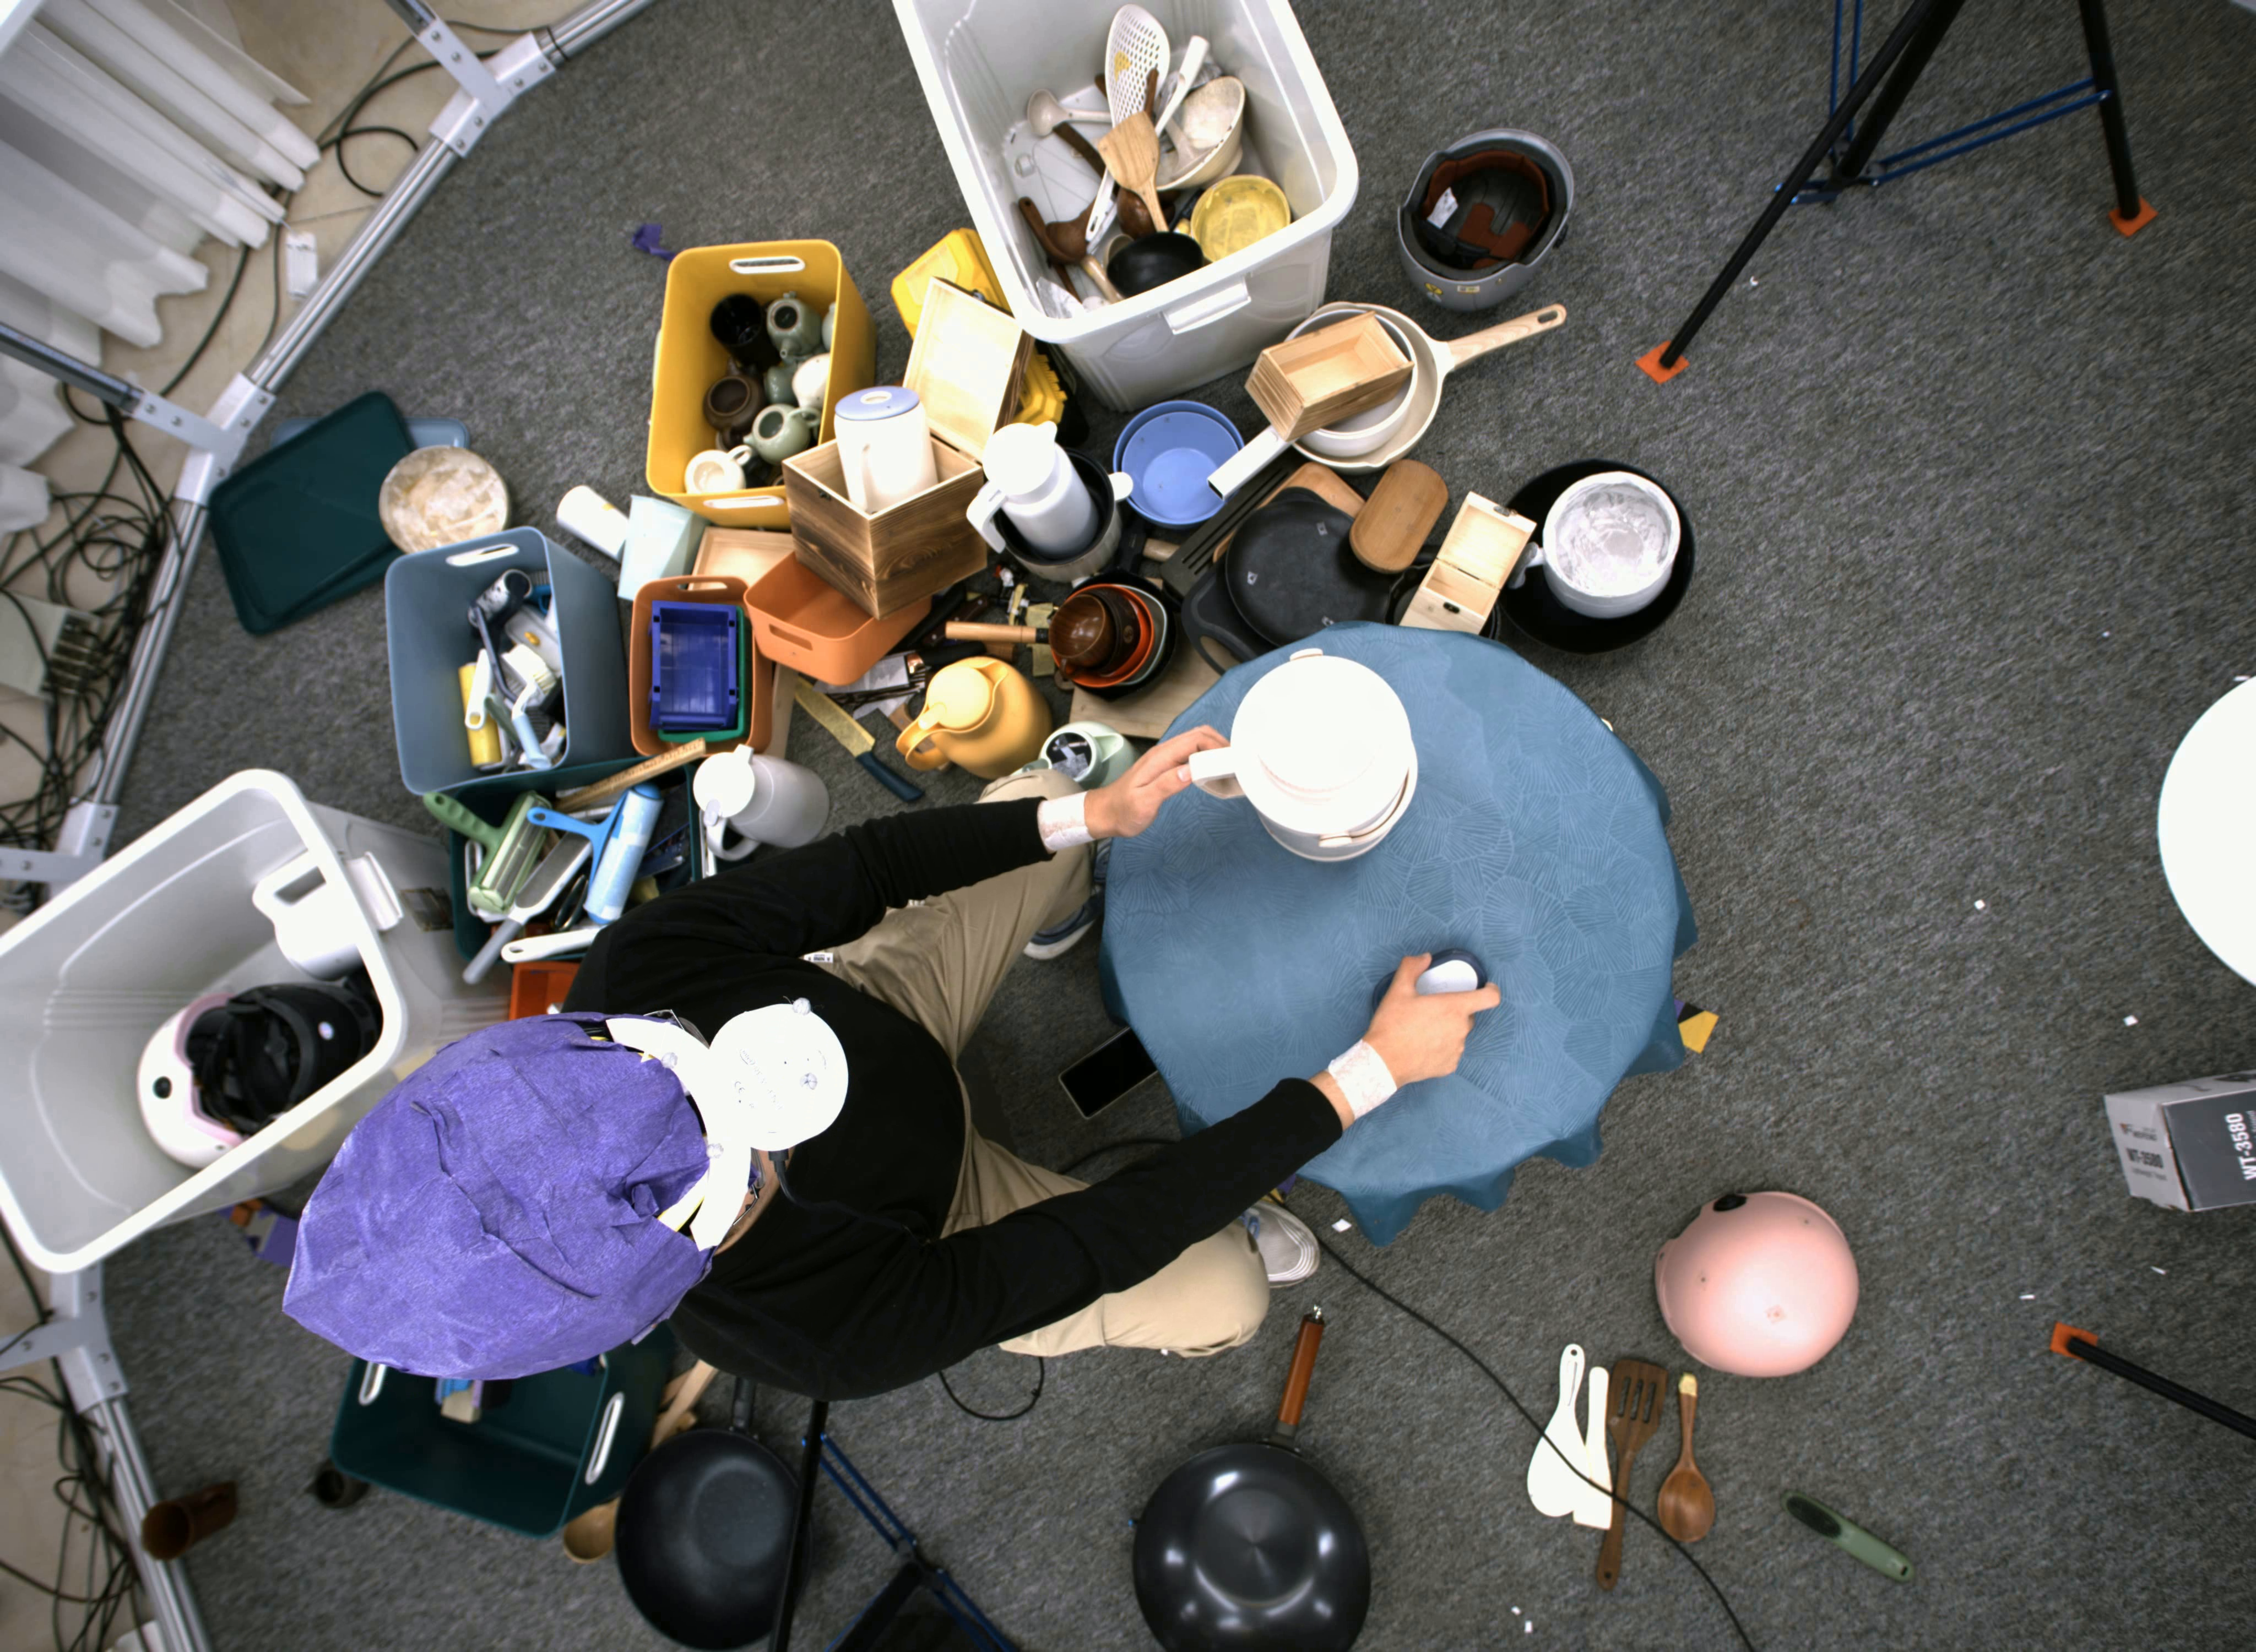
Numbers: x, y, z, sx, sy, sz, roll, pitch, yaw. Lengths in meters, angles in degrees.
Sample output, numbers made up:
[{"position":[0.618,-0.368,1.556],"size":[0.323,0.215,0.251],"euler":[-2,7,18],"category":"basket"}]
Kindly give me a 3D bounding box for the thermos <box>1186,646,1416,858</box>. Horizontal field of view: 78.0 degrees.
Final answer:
[{"position":[0.166,-0.063,1.286],"size":[0.208,0.406,0.174],"euler":[-9,84,8],"category":"thermos"}]

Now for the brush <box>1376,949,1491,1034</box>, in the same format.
[{"position":[0.314,0.168,1.419],"size":[0.122,0.061,0.067],"euler":[-22,79,8],"category":"brush"}]
